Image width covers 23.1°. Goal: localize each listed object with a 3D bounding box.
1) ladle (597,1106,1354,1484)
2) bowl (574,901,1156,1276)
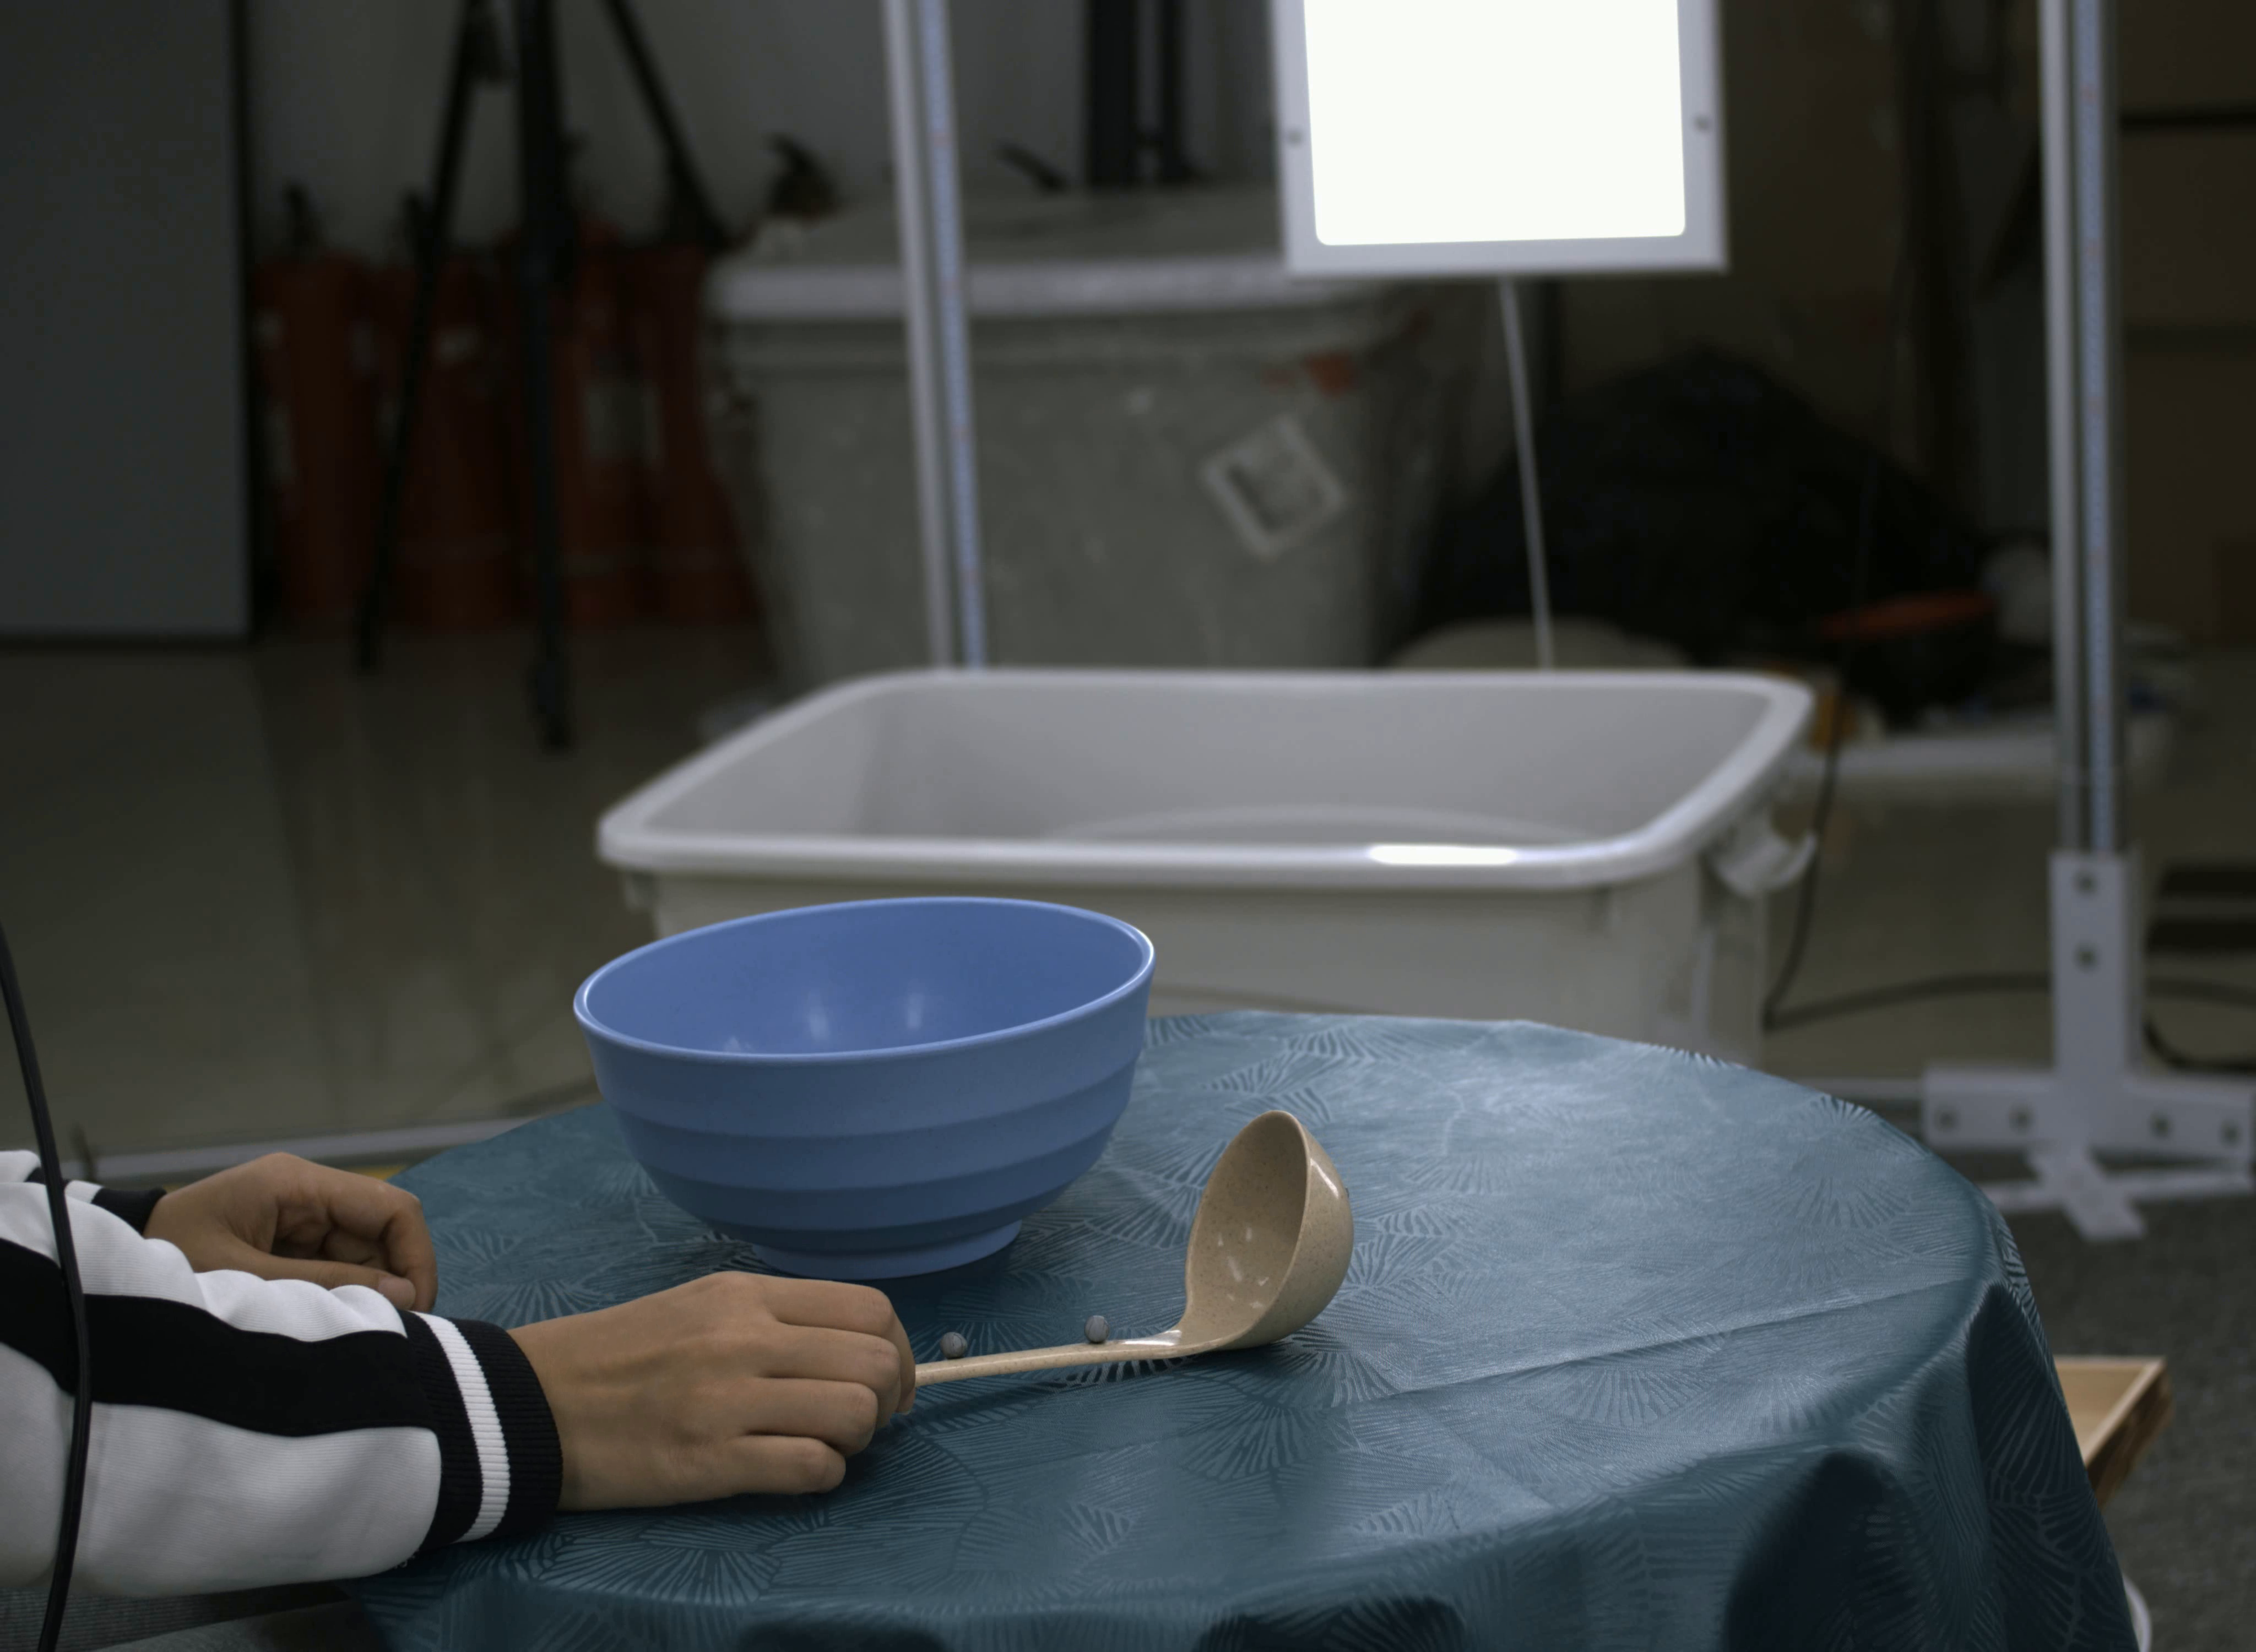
[{"bbox_3d":[-0.049,0.141,1.693,0.249,0.073,0.073,-10,9,-24],"label":"ladle"},{"bbox_3d":[-0.086,0.093,1.862,0.196,0.096,0.196,-3,12,-1],"label":"bowl"}]
